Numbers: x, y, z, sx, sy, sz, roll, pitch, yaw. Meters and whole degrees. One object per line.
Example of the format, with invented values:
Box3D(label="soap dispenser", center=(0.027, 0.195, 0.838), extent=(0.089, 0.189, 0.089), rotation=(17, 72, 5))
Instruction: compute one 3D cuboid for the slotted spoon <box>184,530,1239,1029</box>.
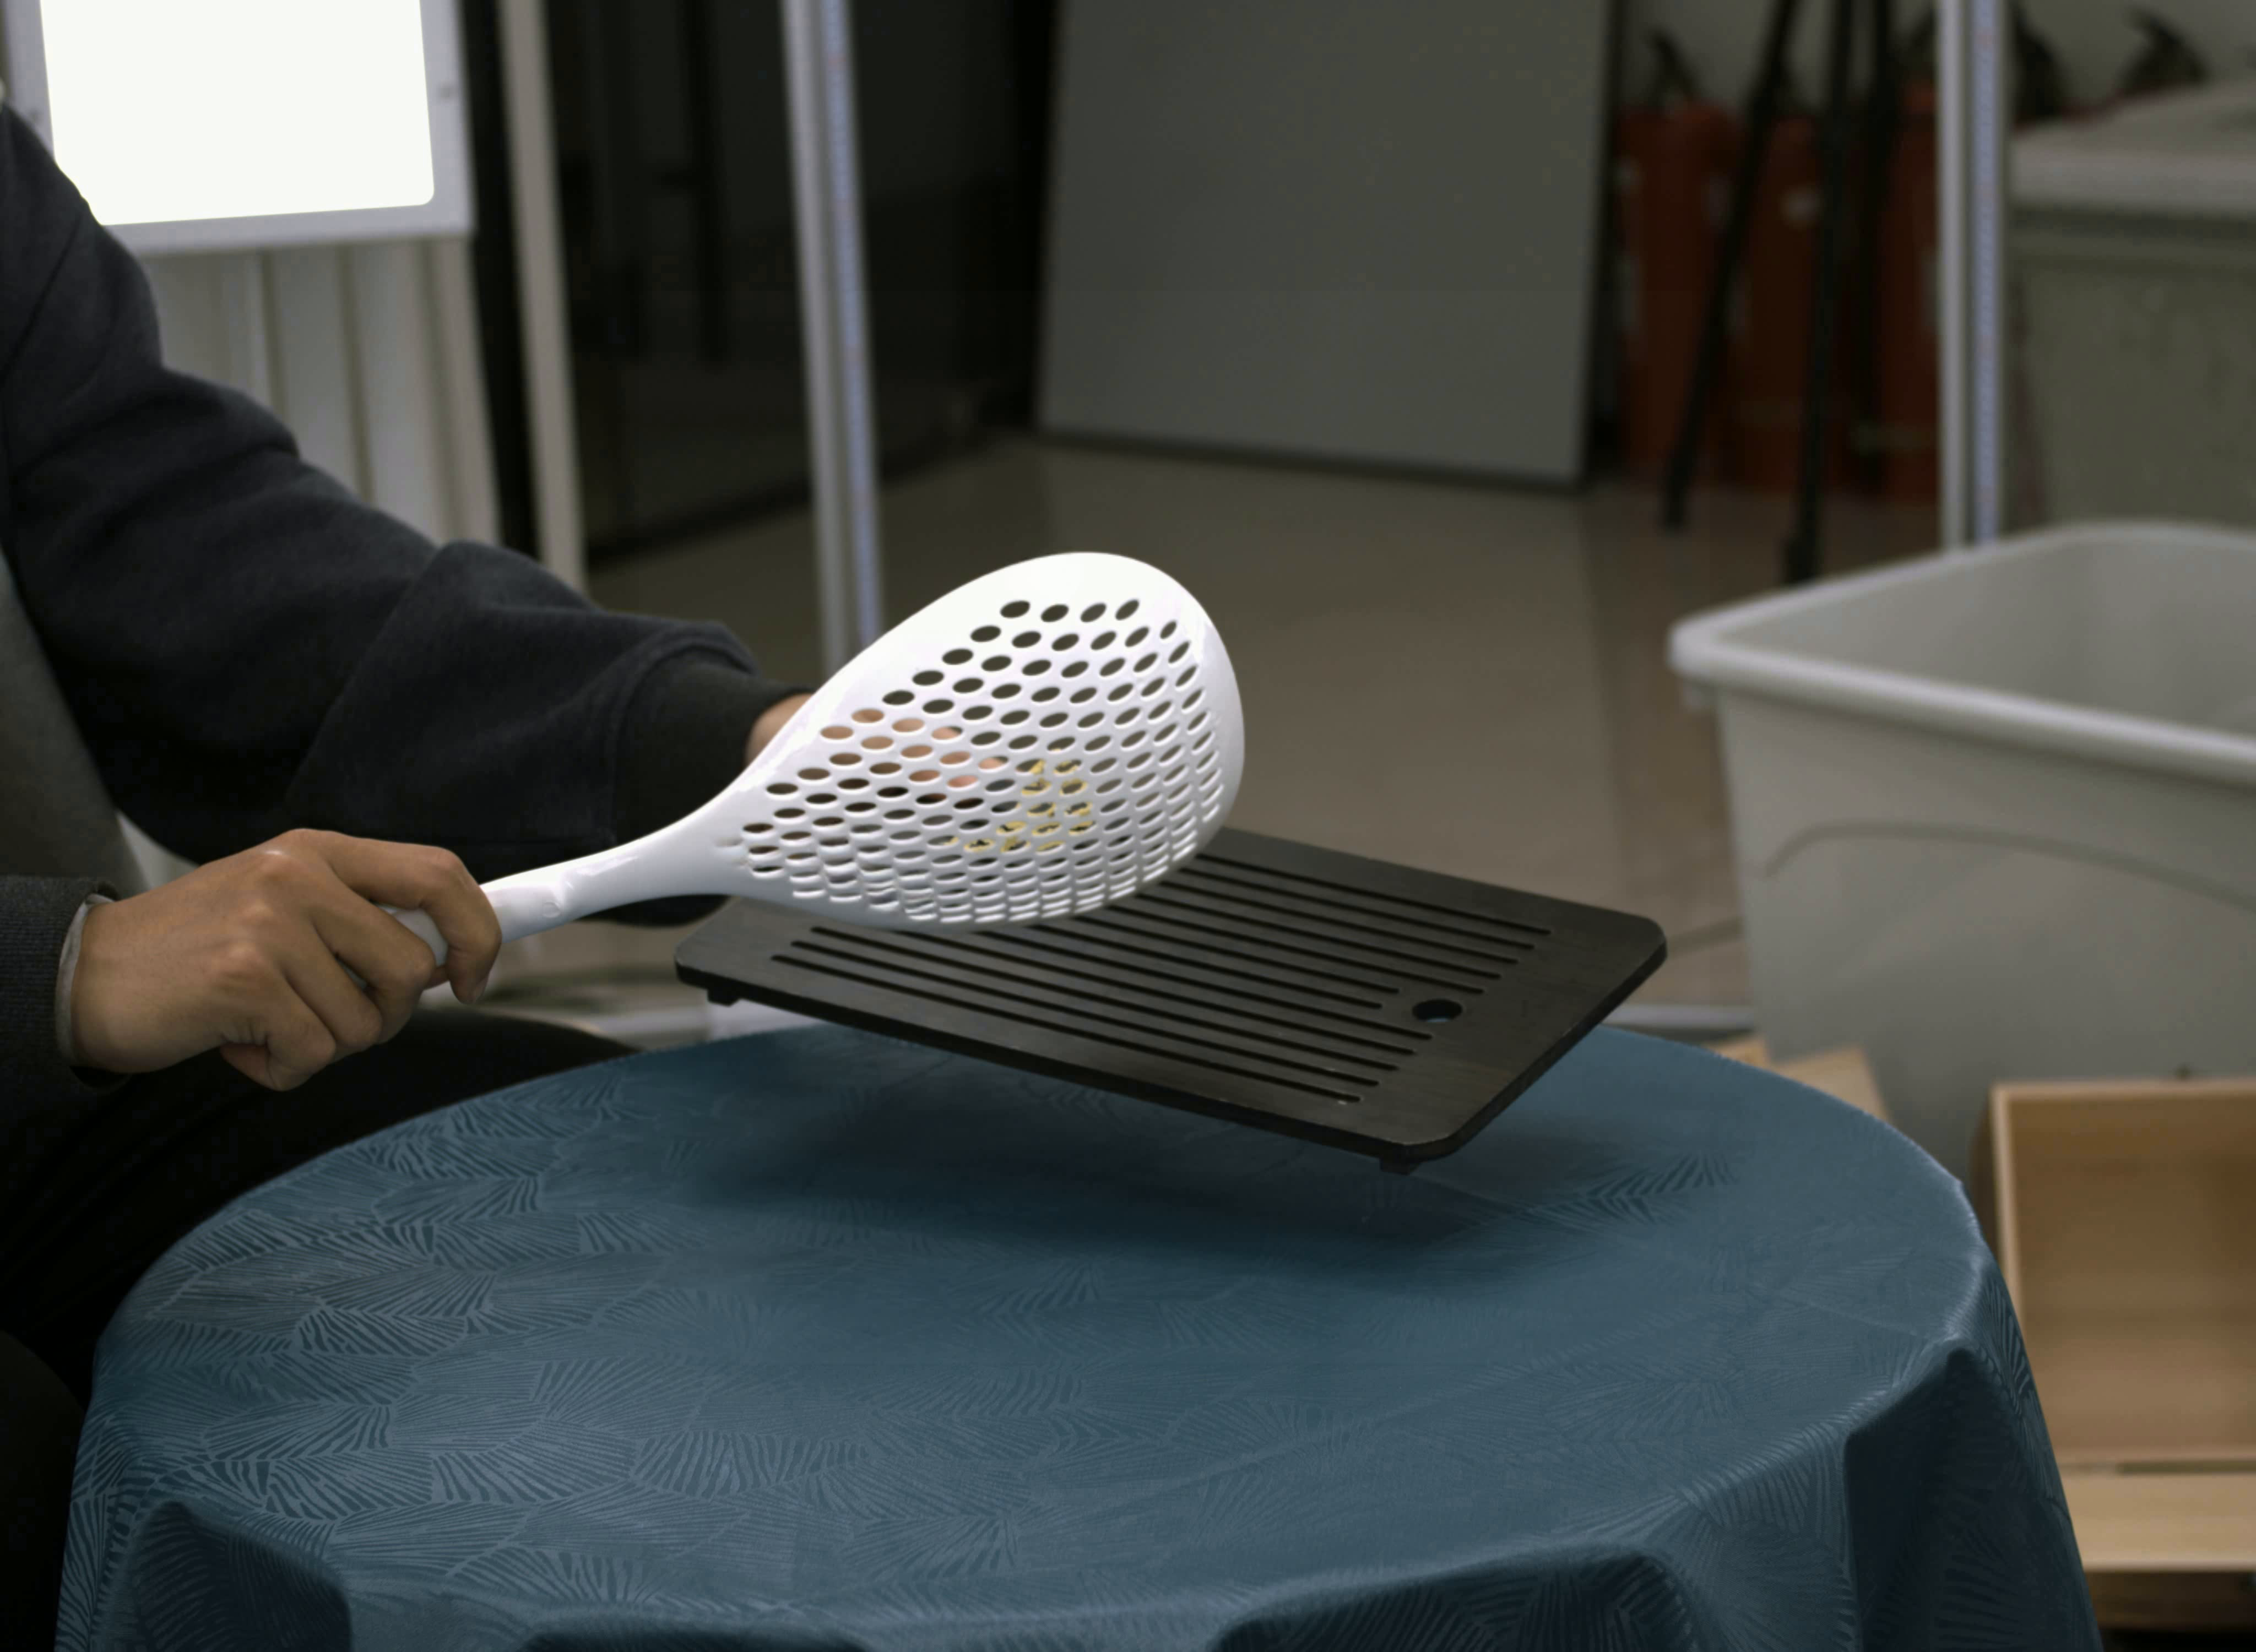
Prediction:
Box3D(label="slotted spoon", center=(-0.127, 0.008, 1.698), extent=(0.343, 0.137, 0.051), rotation=(-15, 34, -3))

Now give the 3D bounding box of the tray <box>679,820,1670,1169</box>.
Box3D(label="tray", center=(0.014, 0.045, 1.806), extent=(0.307, 0.019, 0.168), rotation=(12, 30, 32))
